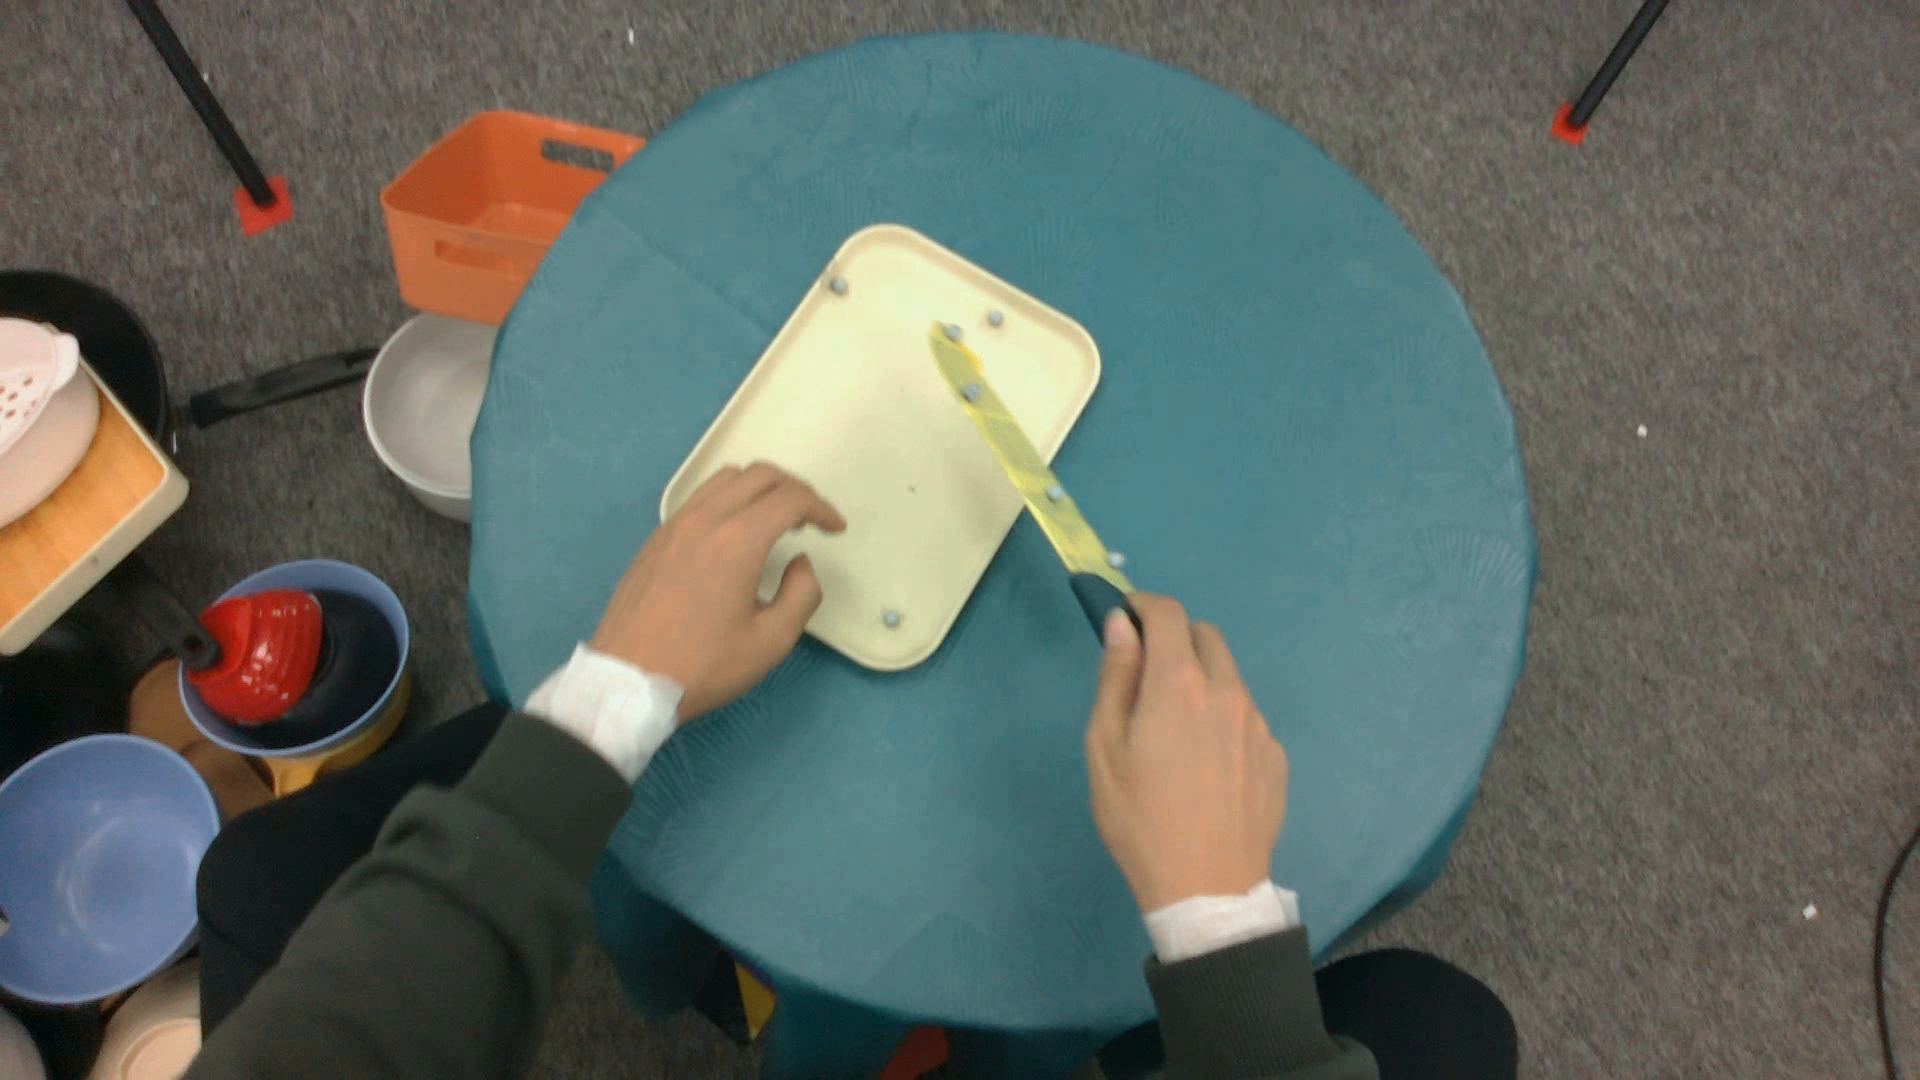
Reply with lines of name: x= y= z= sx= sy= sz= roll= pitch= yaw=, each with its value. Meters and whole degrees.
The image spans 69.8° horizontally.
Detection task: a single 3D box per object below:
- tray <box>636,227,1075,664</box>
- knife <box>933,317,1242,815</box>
tray: x=-0.053 y=-0.058 z=0.769 sx=0.171 sy=0.017 sz=0.240 roll=29 pitch=67 yaw=5
knife: x=0.061 y=0.004 z=0.687 sx=0.027 sy=0.081 sz=0.290 roll=-37 pitch=74 yaw=26
